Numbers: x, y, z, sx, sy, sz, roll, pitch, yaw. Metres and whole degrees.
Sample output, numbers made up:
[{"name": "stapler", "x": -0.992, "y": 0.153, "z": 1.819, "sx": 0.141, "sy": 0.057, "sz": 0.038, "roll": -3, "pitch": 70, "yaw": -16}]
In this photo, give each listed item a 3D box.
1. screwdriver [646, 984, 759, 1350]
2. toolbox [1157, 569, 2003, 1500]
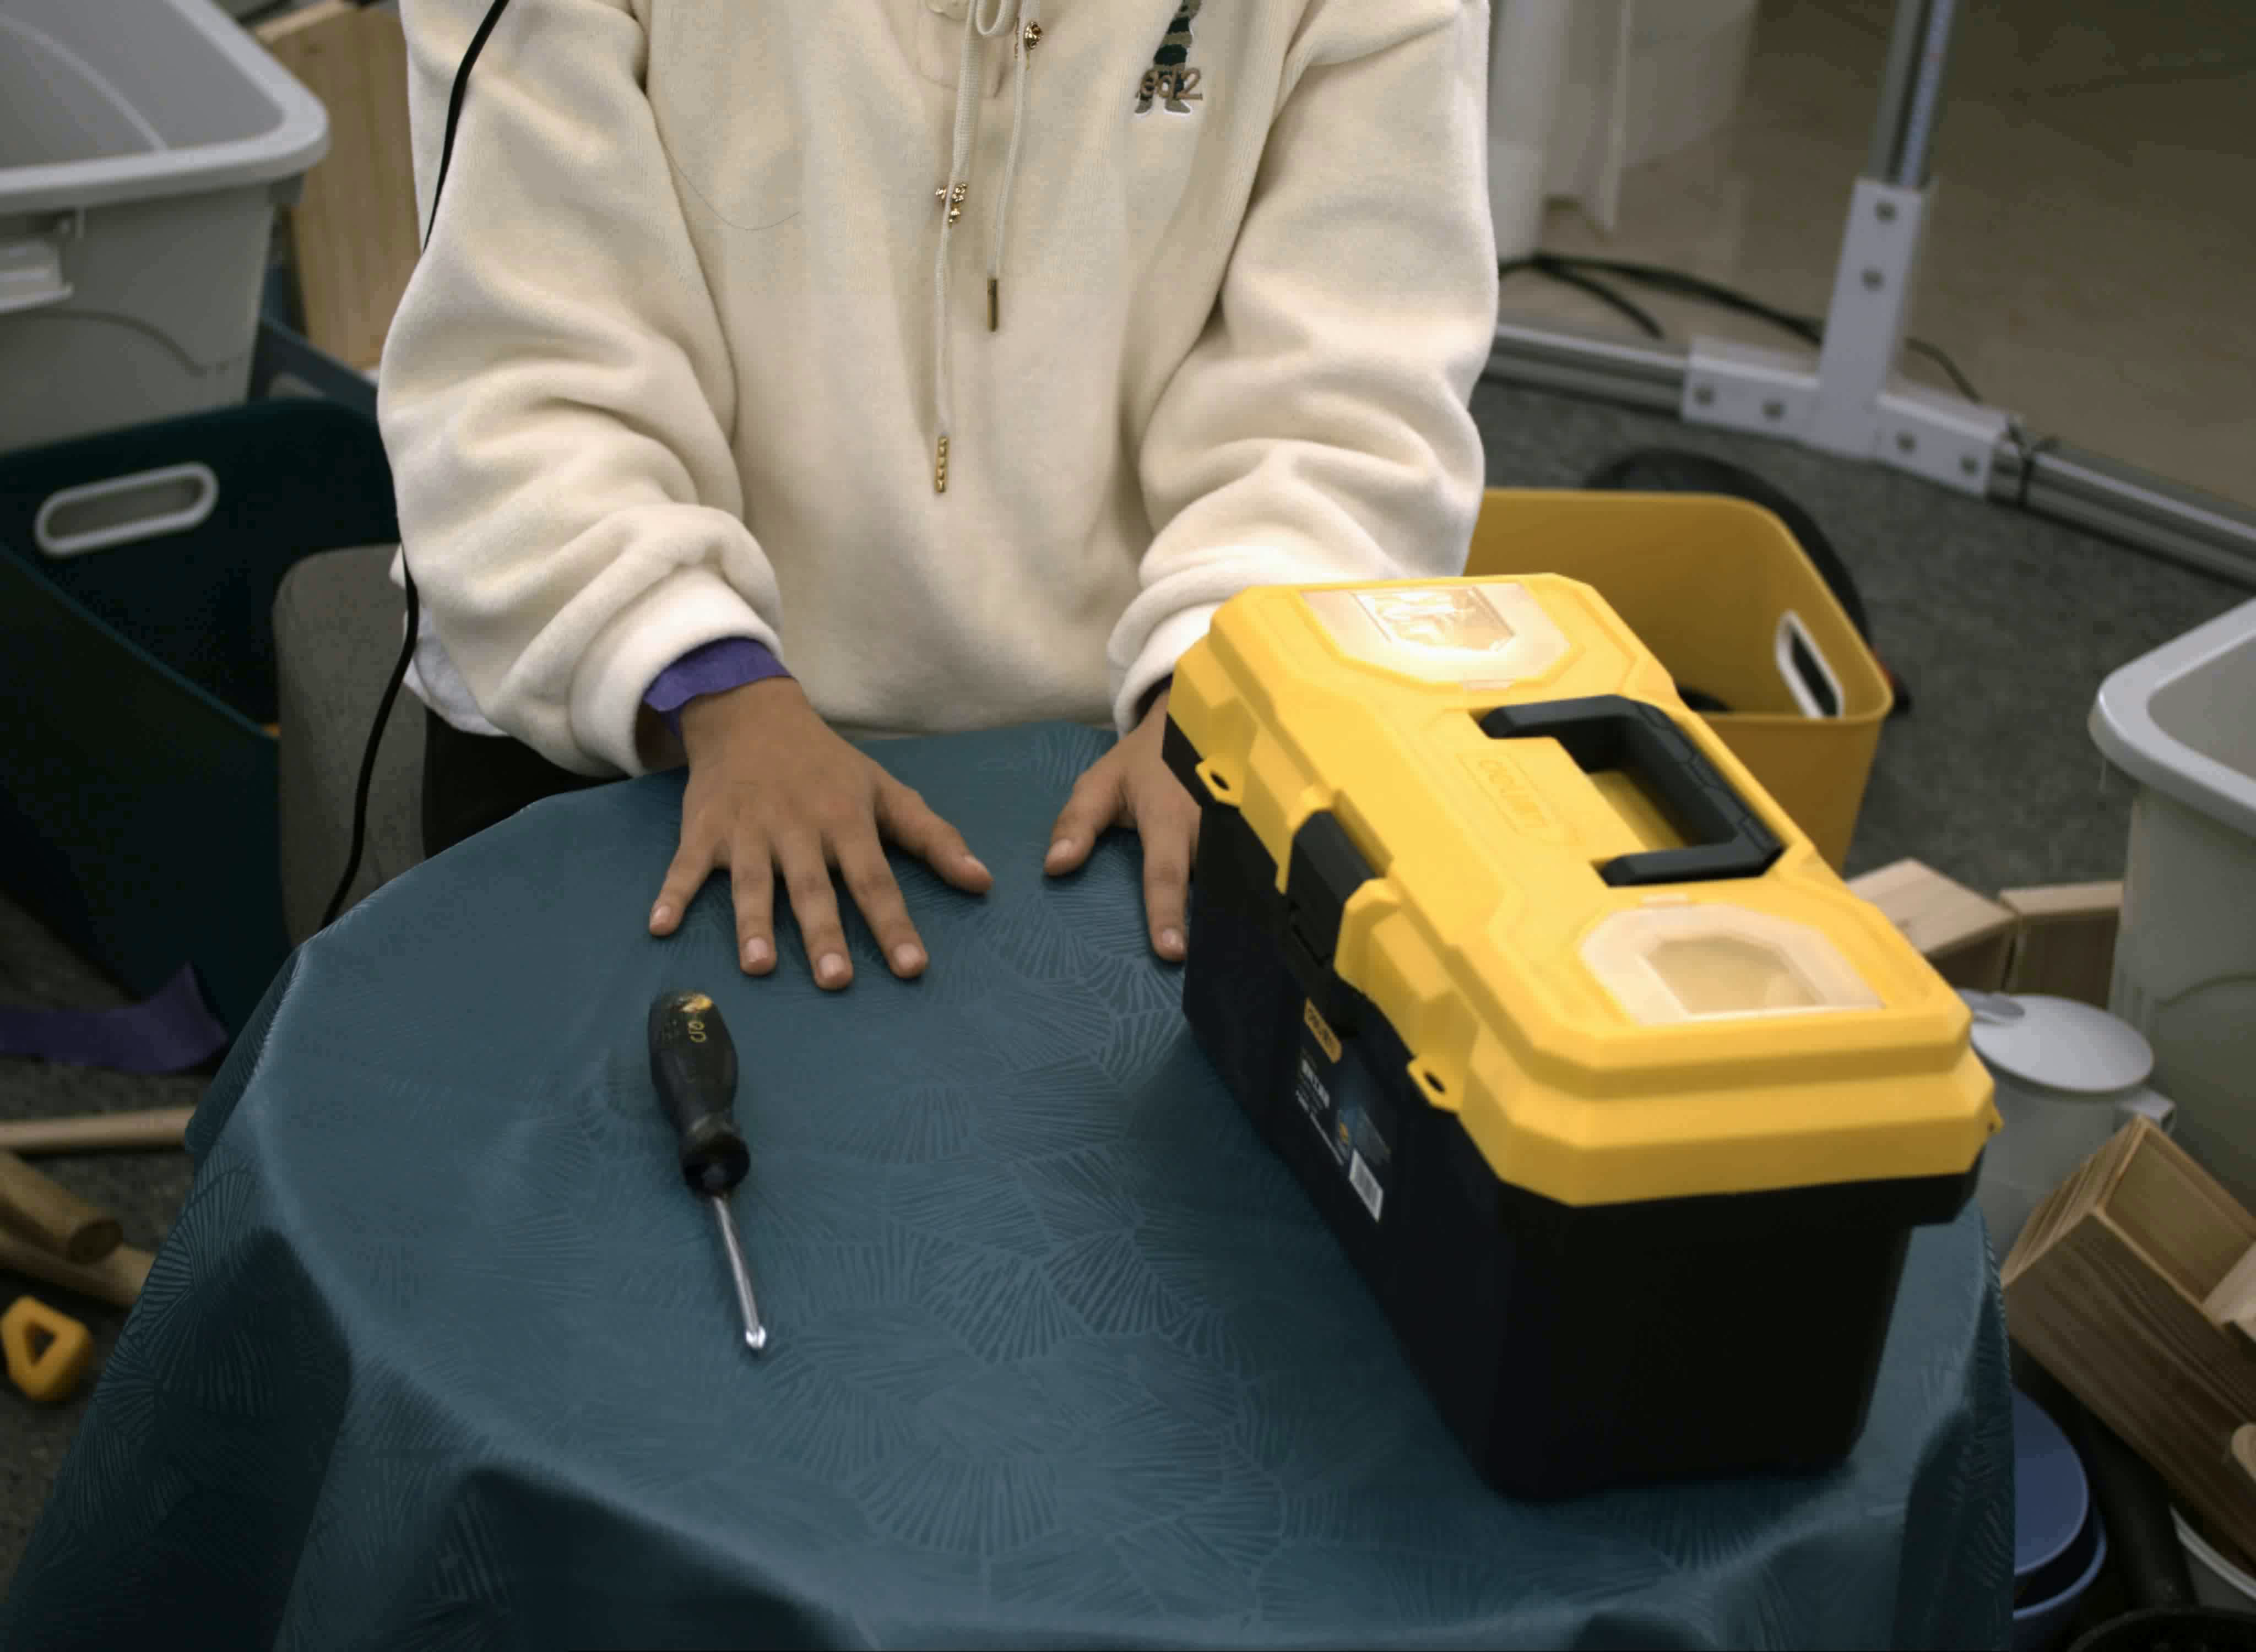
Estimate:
[{"name": "screwdriver", "x": -0.138, "y": 0.111, "z": 1.762, "sx": 0.031, "sy": 0.031, "sz": 0.198, "roll": 1, "pitch": 29, "yaw": -12}, {"name": "toolbox", "x": 0.136, "y": 0.061, "z": 1.764, "sx": 0.180, "sy": 0.172, "sz": 0.354, "roll": -3, "pitch": 28, "yaw": -18}]
